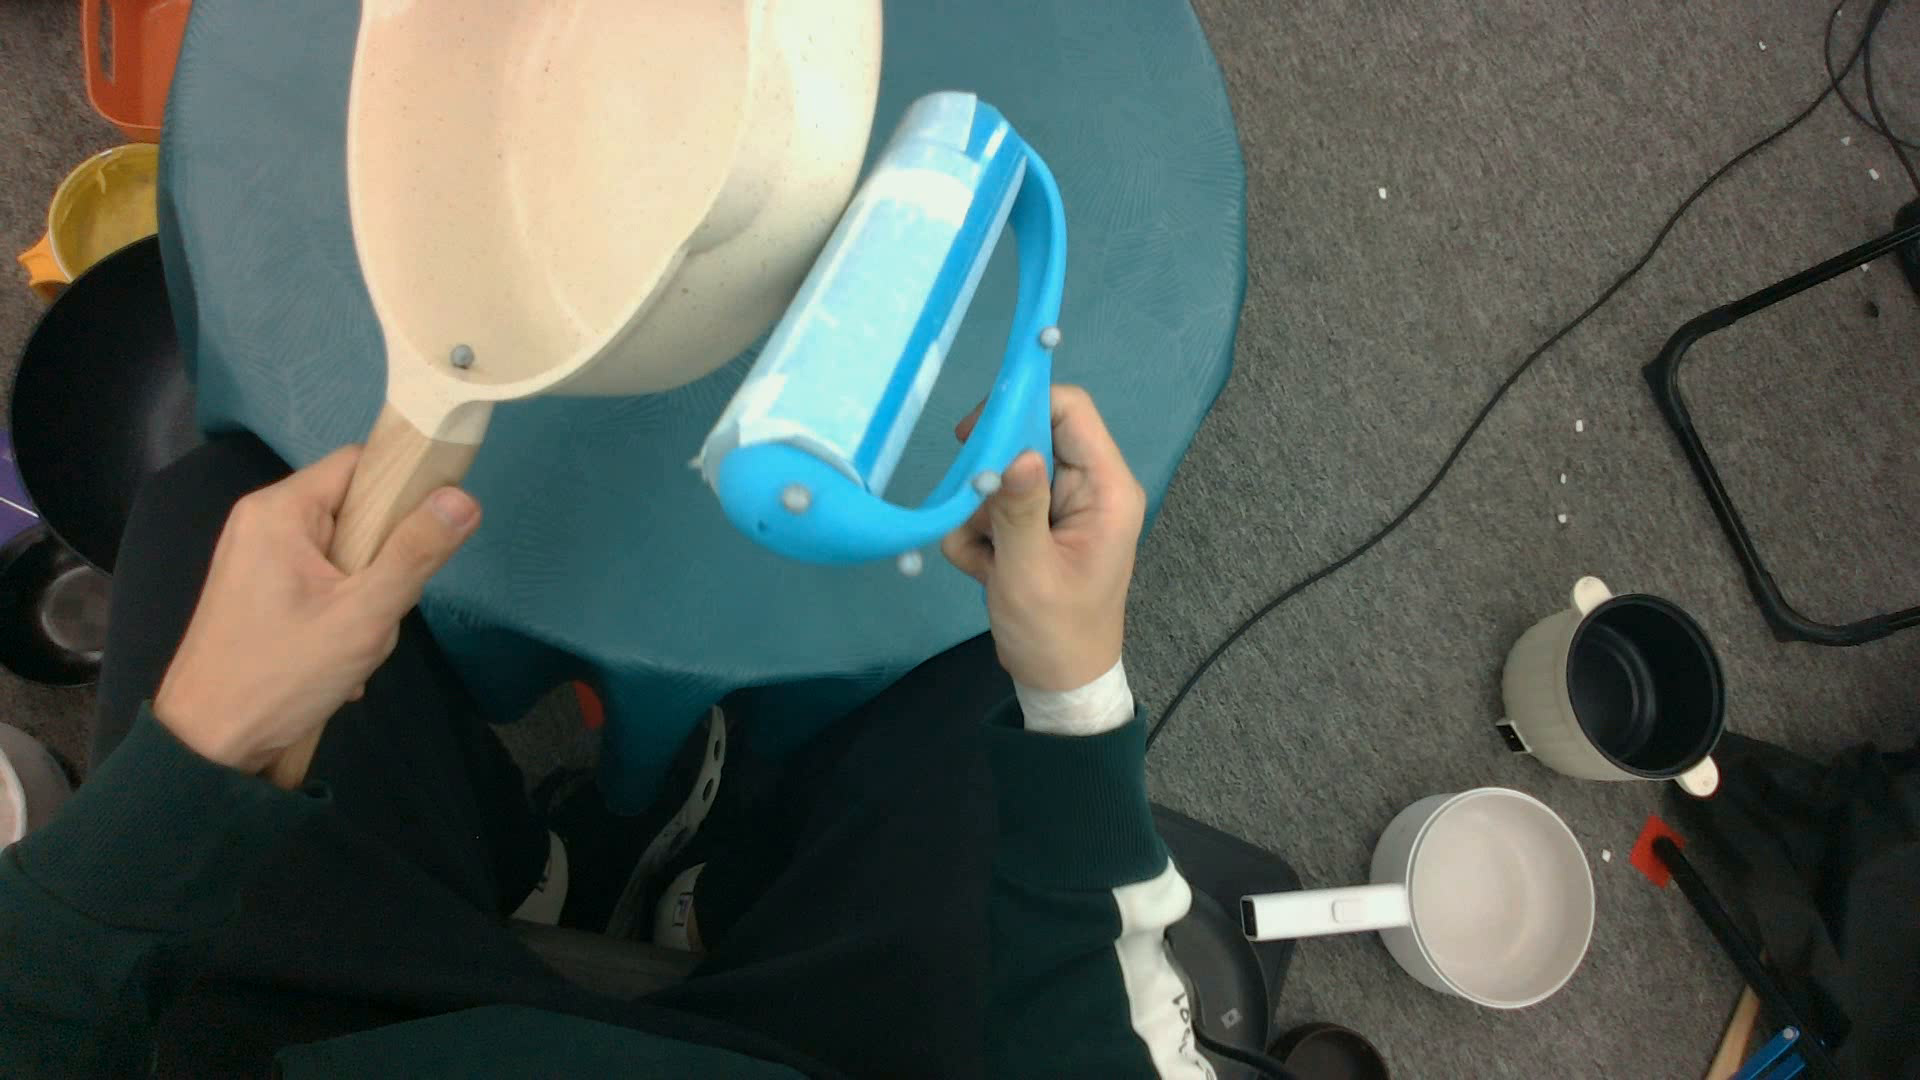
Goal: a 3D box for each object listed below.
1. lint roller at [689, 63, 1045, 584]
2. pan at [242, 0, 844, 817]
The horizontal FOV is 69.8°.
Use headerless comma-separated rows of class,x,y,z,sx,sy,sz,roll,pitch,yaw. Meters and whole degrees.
lint roller,-0.004,-0.055,0.509,0.180,0.068,0.230,56,35,-36
pan,-0.181,-0.091,0.538,0.102,0.263,0.434,3,112,-52
